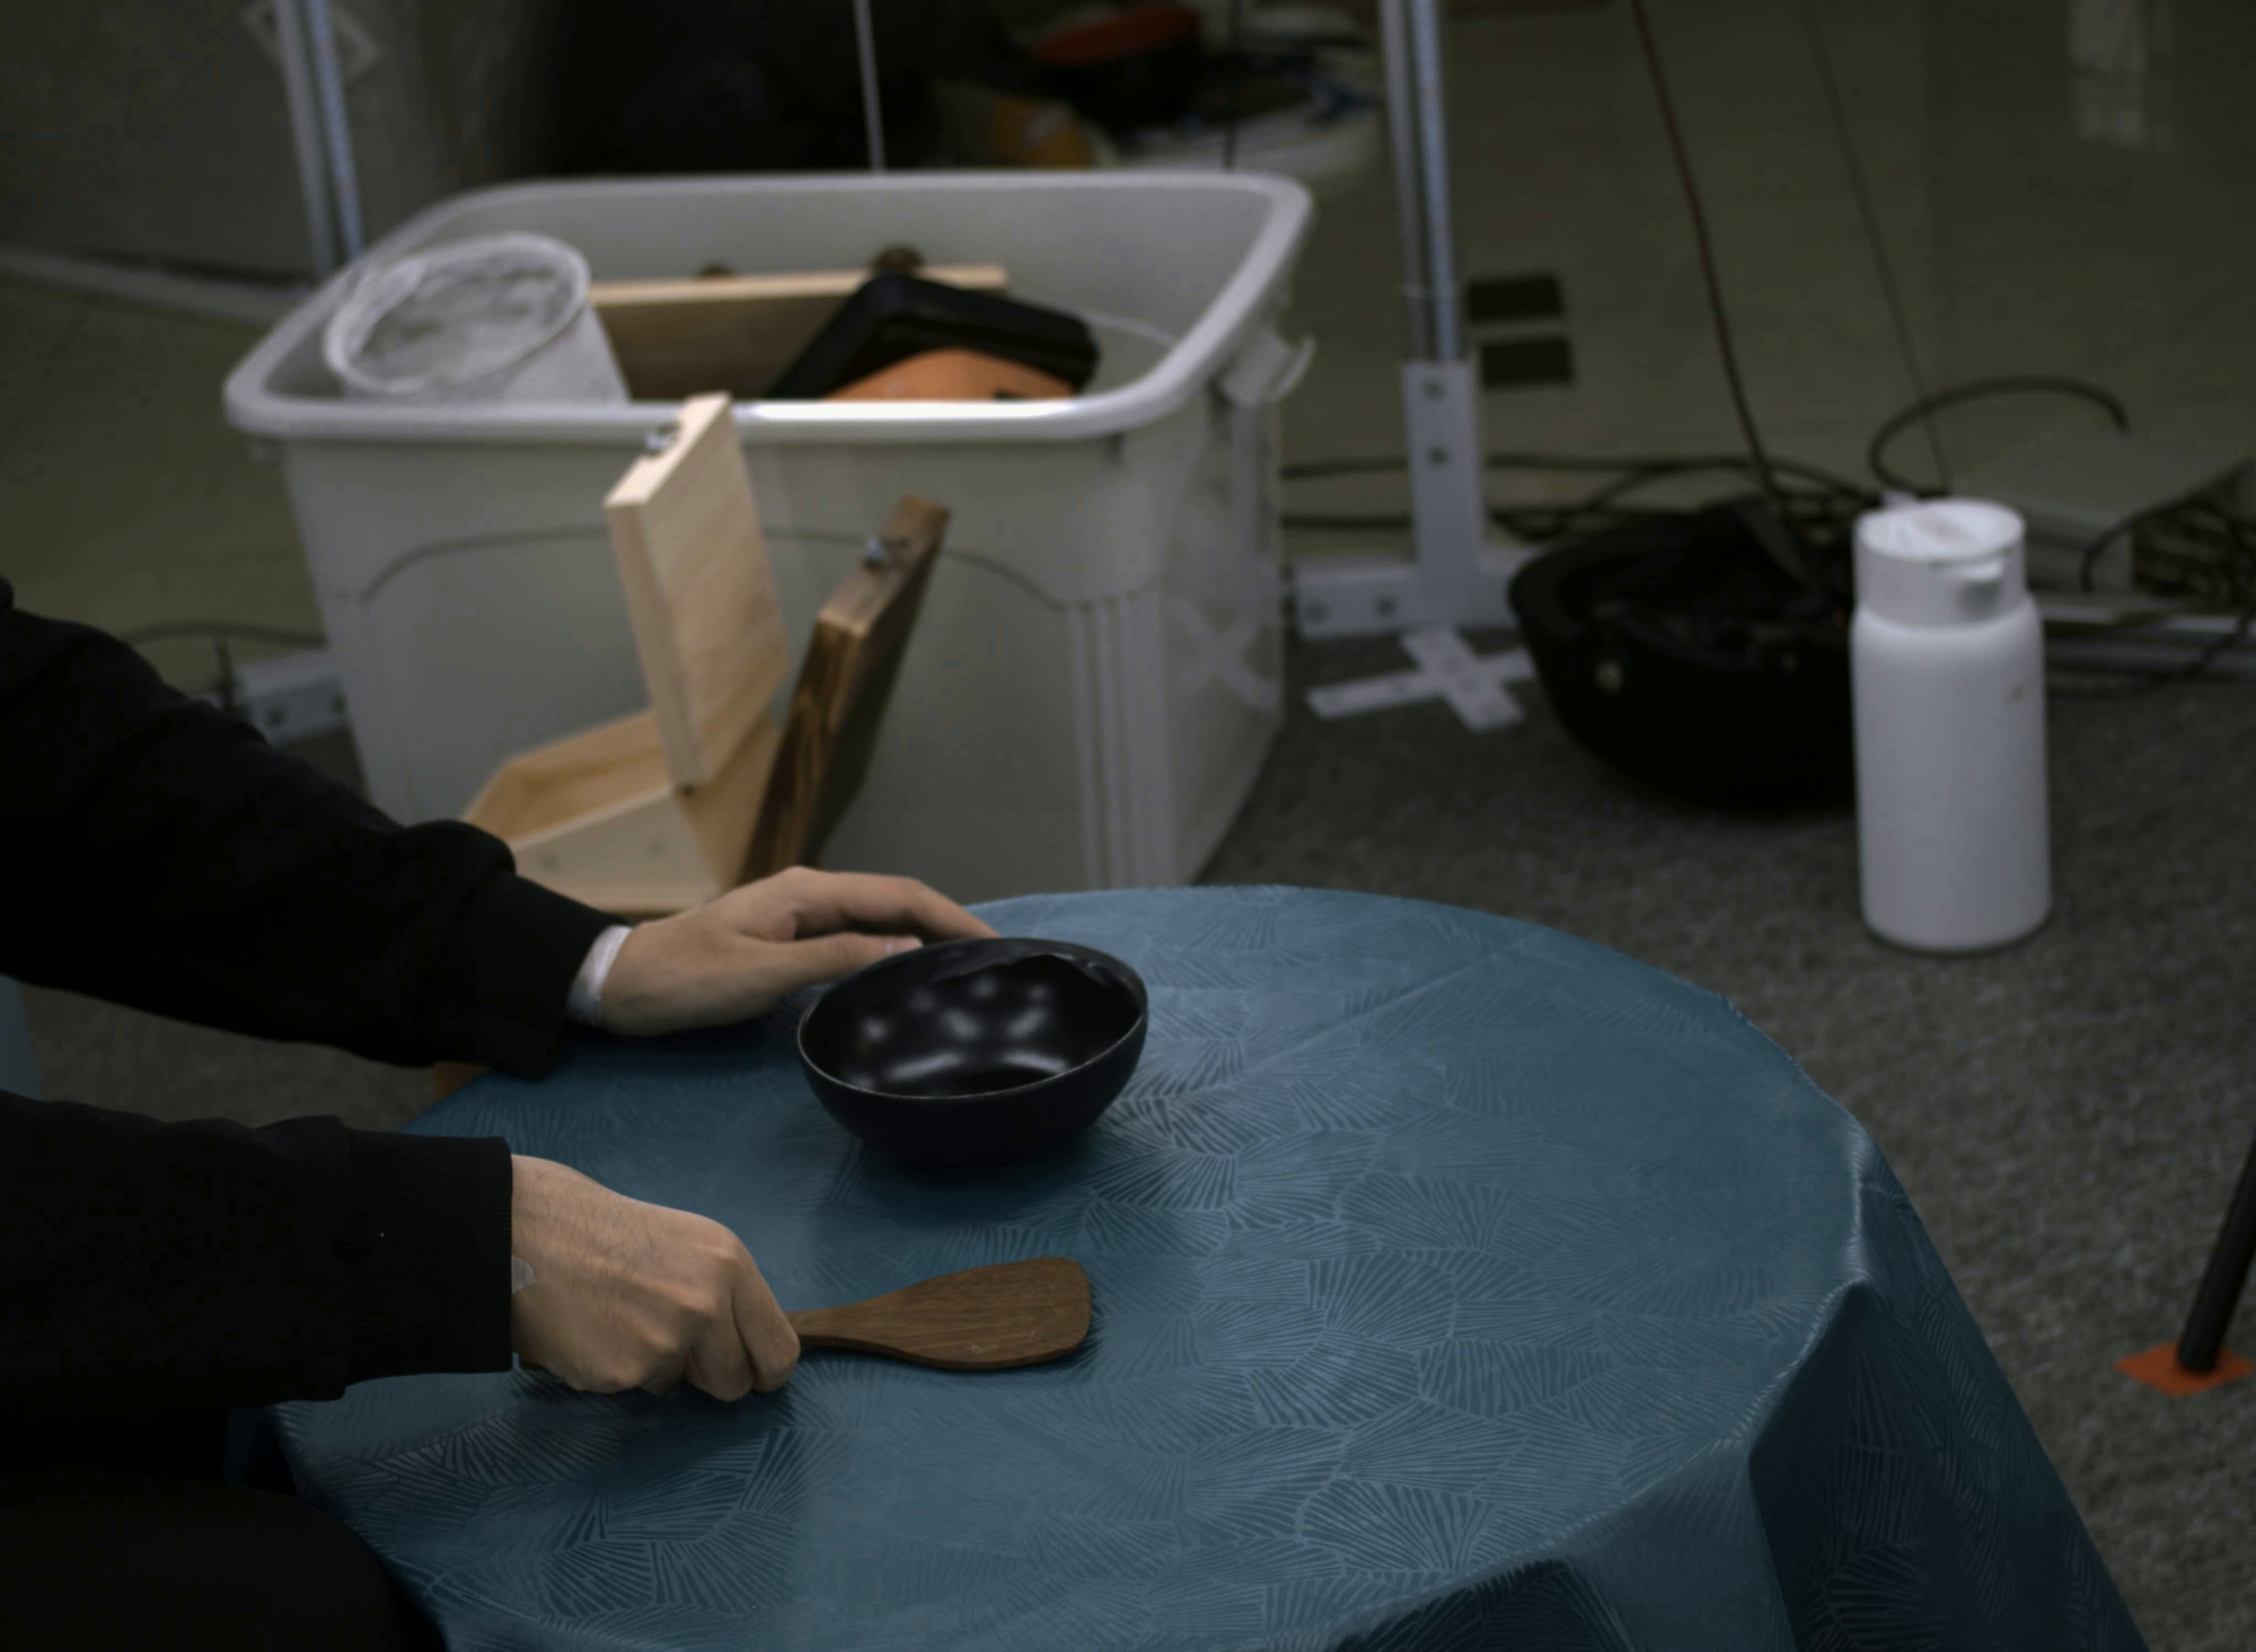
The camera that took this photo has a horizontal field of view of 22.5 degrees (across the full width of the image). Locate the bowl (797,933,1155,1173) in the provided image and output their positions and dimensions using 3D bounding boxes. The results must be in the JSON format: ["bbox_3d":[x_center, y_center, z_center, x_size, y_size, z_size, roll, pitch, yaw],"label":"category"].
[{"bbox_3d":[-0.057,0.096,2.204,0.140,0.050,0.138,-6,28,3],"label":"bowl"}]

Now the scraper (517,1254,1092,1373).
[{"bbox_3d":[-0.118,0.184,2.070,0.211,0.011,0.075,-4,24,0],"label":"scraper"}]
